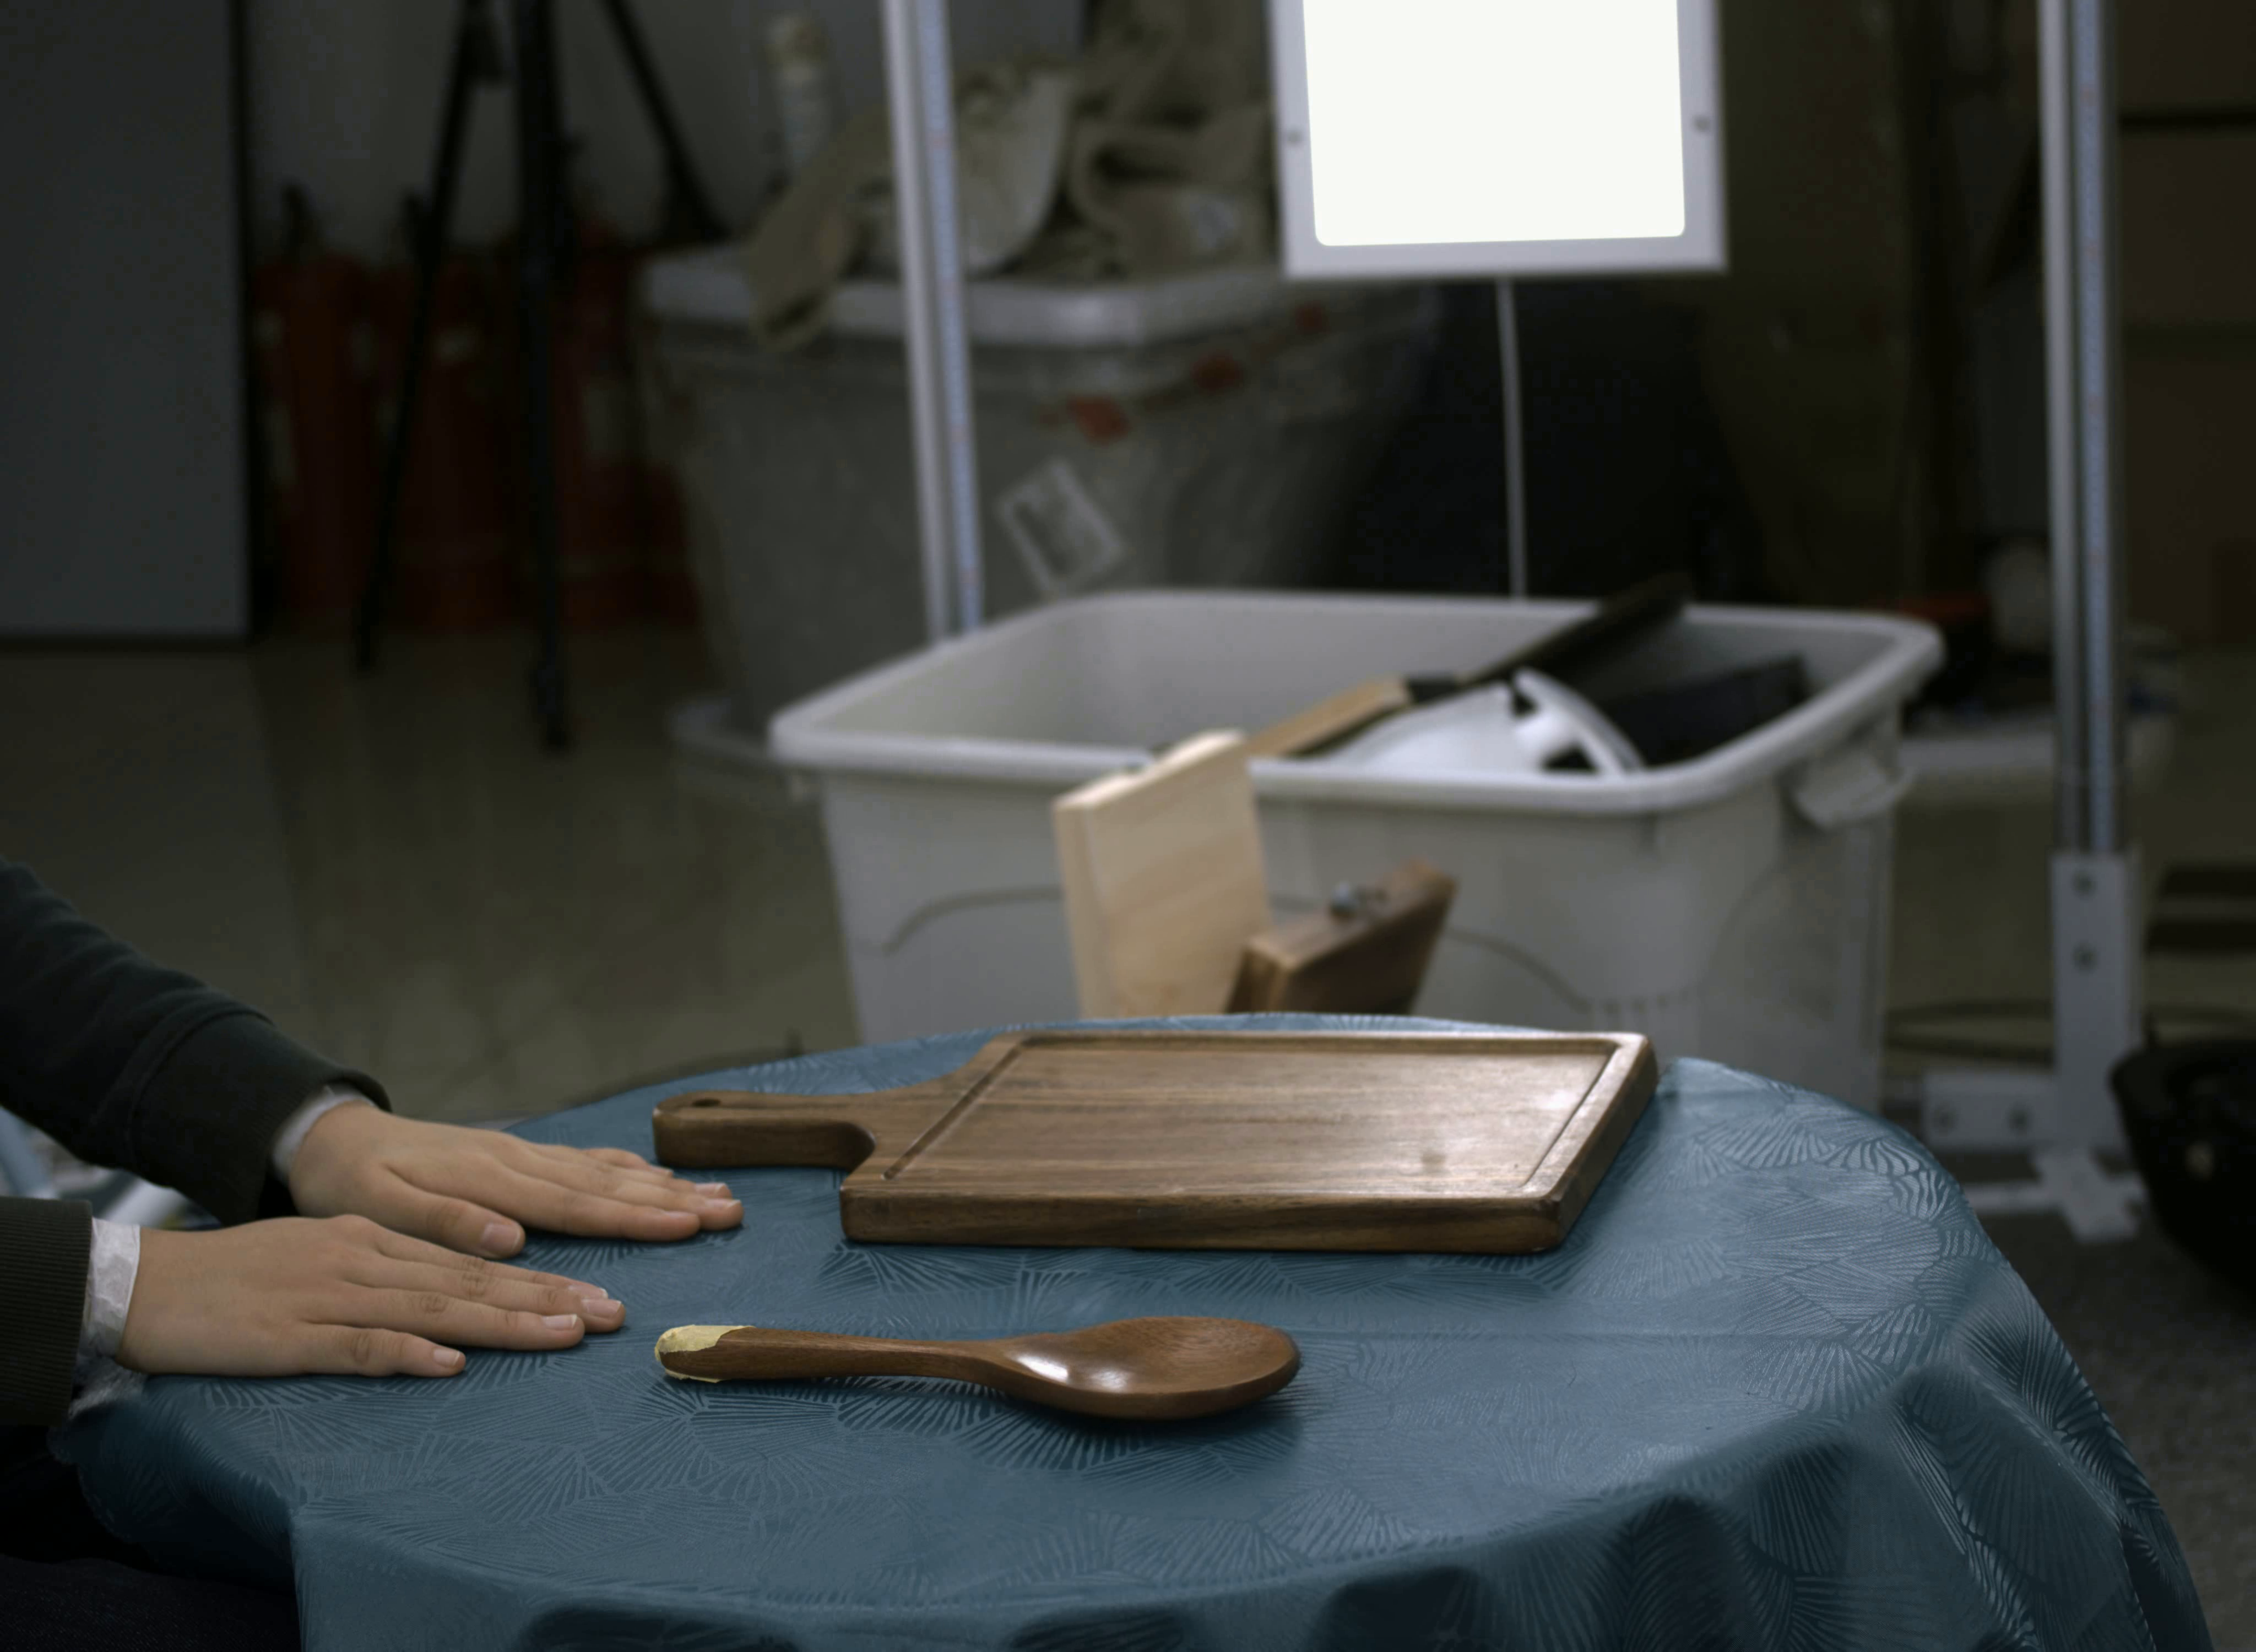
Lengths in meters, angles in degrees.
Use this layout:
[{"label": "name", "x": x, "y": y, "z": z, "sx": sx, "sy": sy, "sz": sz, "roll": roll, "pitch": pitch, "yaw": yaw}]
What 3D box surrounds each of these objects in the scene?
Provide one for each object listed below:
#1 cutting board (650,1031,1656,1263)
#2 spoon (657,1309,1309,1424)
[{"label": "cutting board", "x": -0.001, "y": 0.109, "z": 1.932, "sx": 0.356, "sy": 0.023, "sz": 0.198, "roll": -1, "pitch": 15, "yaw": 18}, {"label": "spoon", "x": -0.047, "y": 0.166, "z": 1.714, "sx": 0.219, "sy": 0.017, "sz": 0.074, "roll": 2, "pitch": 17, "yaw": 23}]
